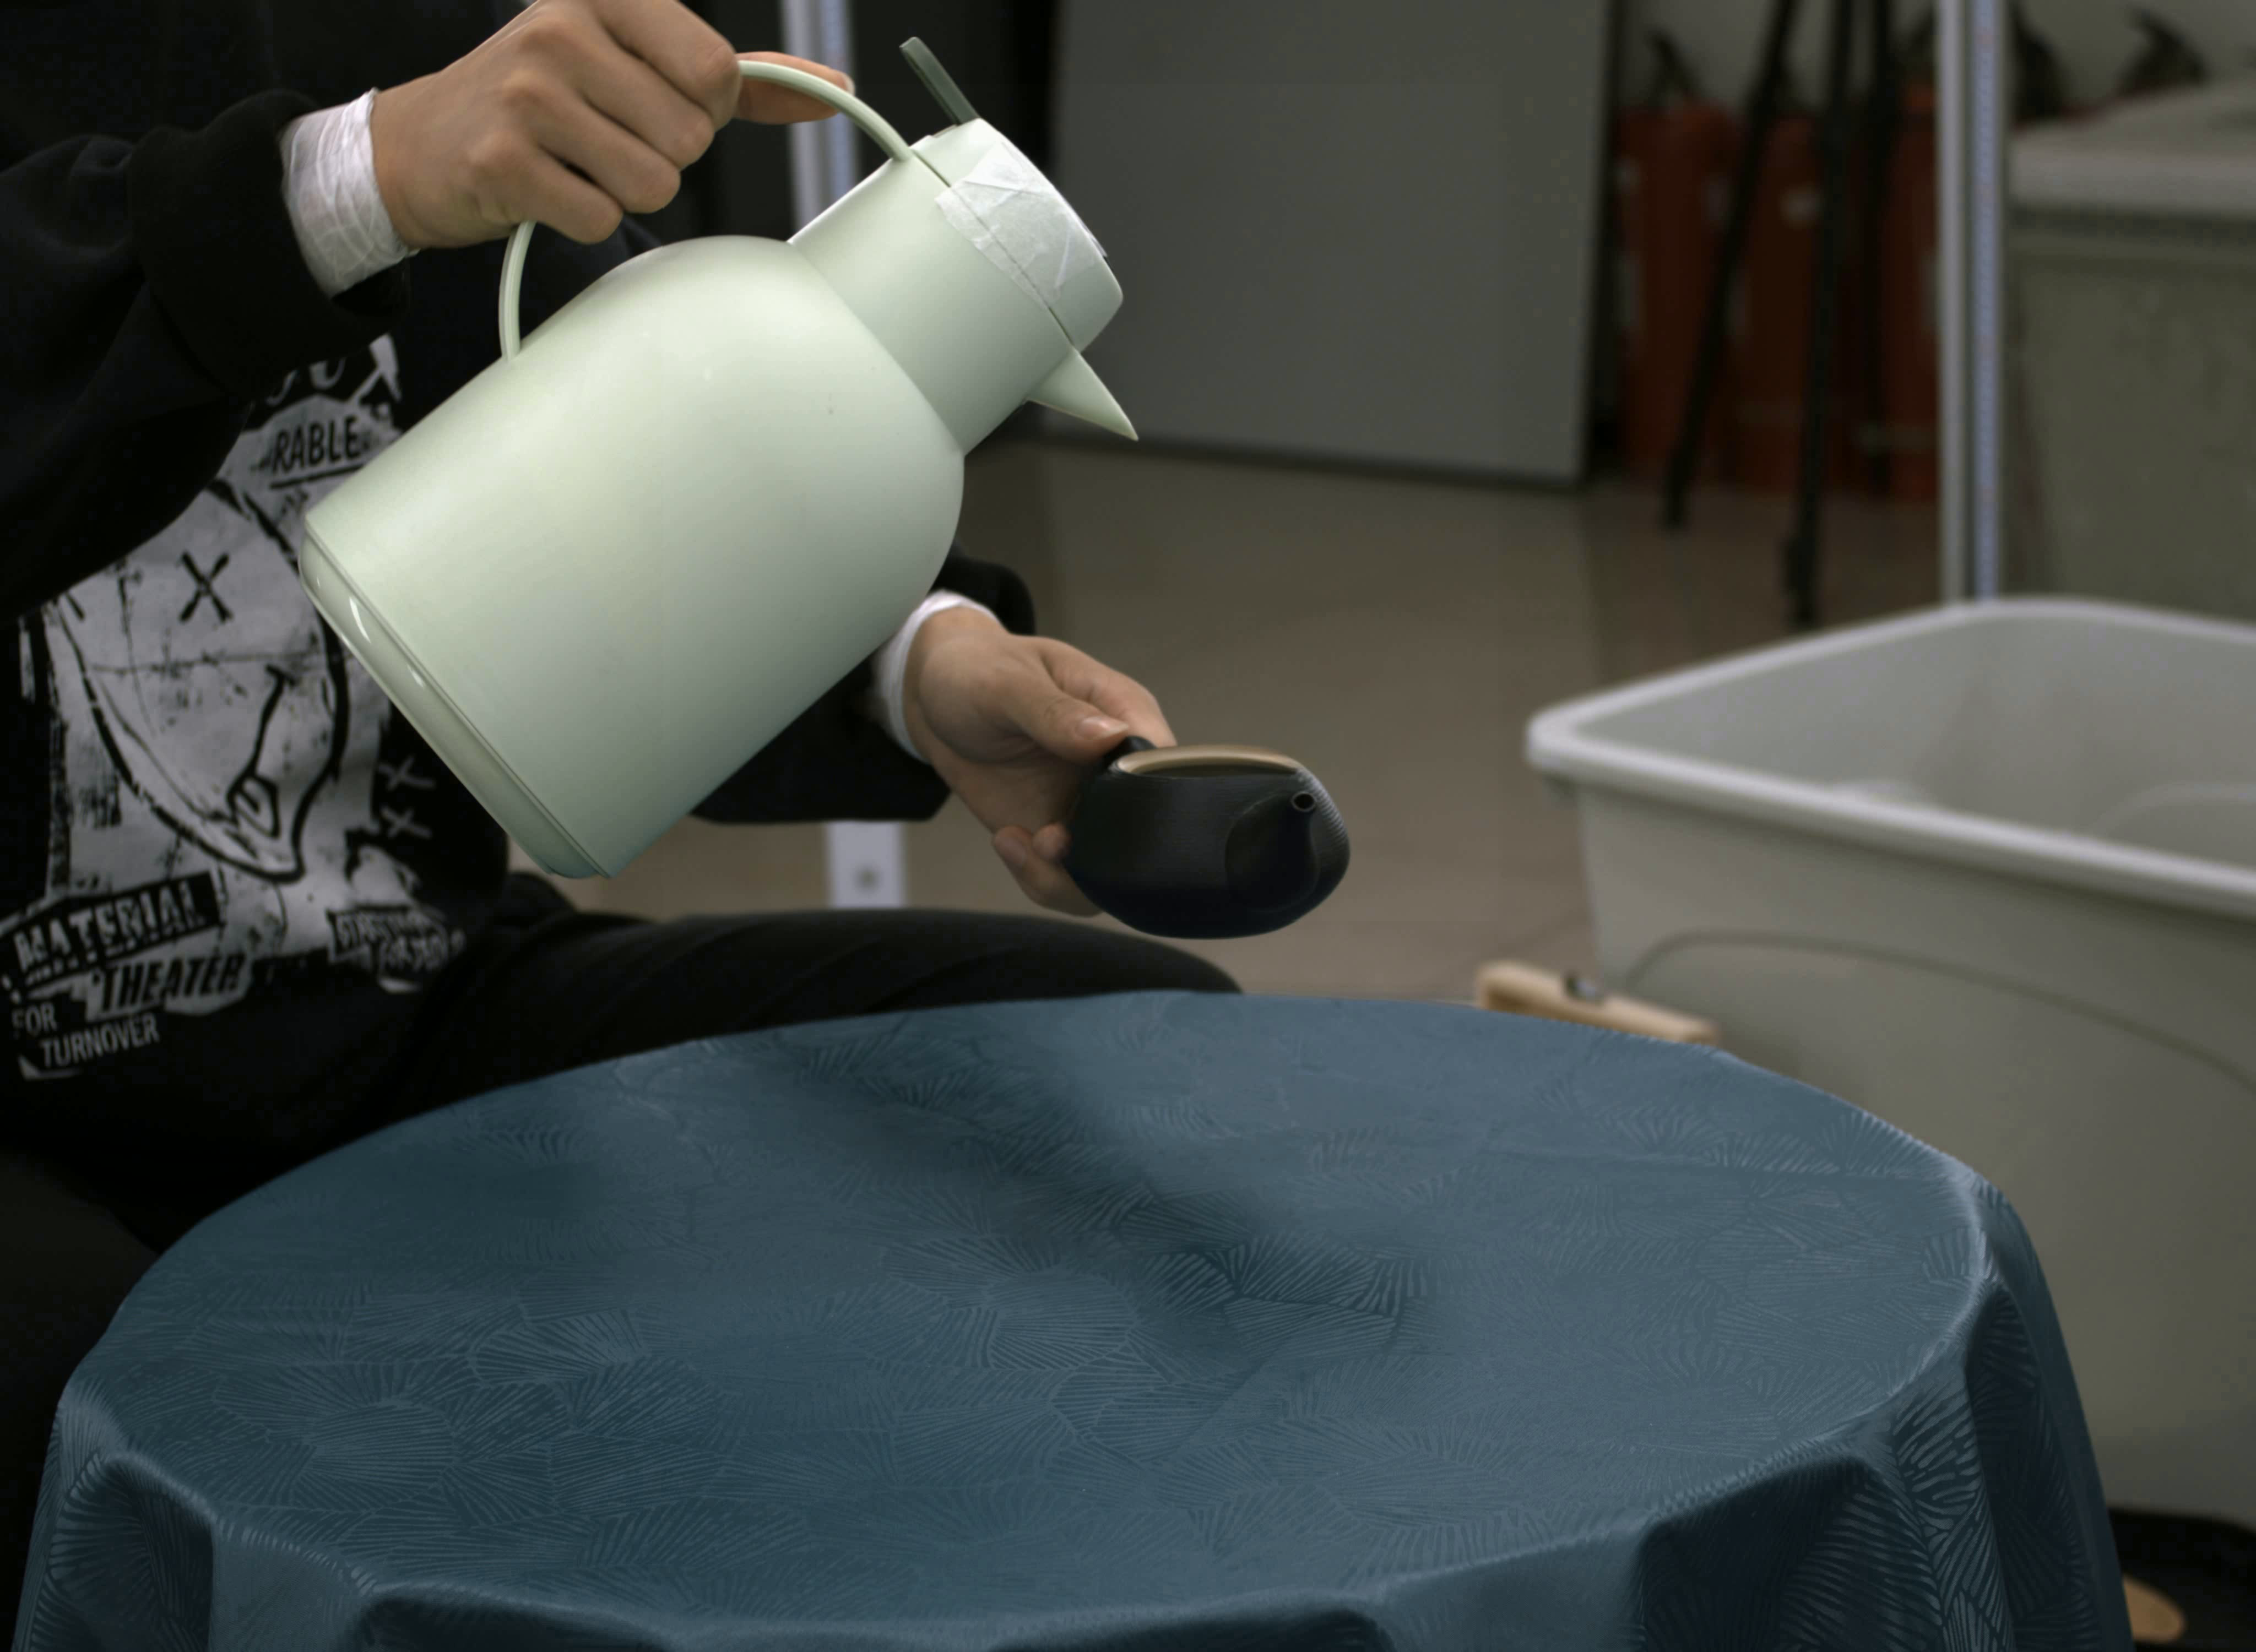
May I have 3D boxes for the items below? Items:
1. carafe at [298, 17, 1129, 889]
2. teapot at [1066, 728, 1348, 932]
[{"bbox_3d":[-0.130,-0.122,1.649,0.256,0.186,0.145,-45,11,0],"label":"carafe"},{"bbox_3d":[0.025,0.002,1.714,0.089,0.054,0.134,-6,13,-27],"label":"teapot"}]
